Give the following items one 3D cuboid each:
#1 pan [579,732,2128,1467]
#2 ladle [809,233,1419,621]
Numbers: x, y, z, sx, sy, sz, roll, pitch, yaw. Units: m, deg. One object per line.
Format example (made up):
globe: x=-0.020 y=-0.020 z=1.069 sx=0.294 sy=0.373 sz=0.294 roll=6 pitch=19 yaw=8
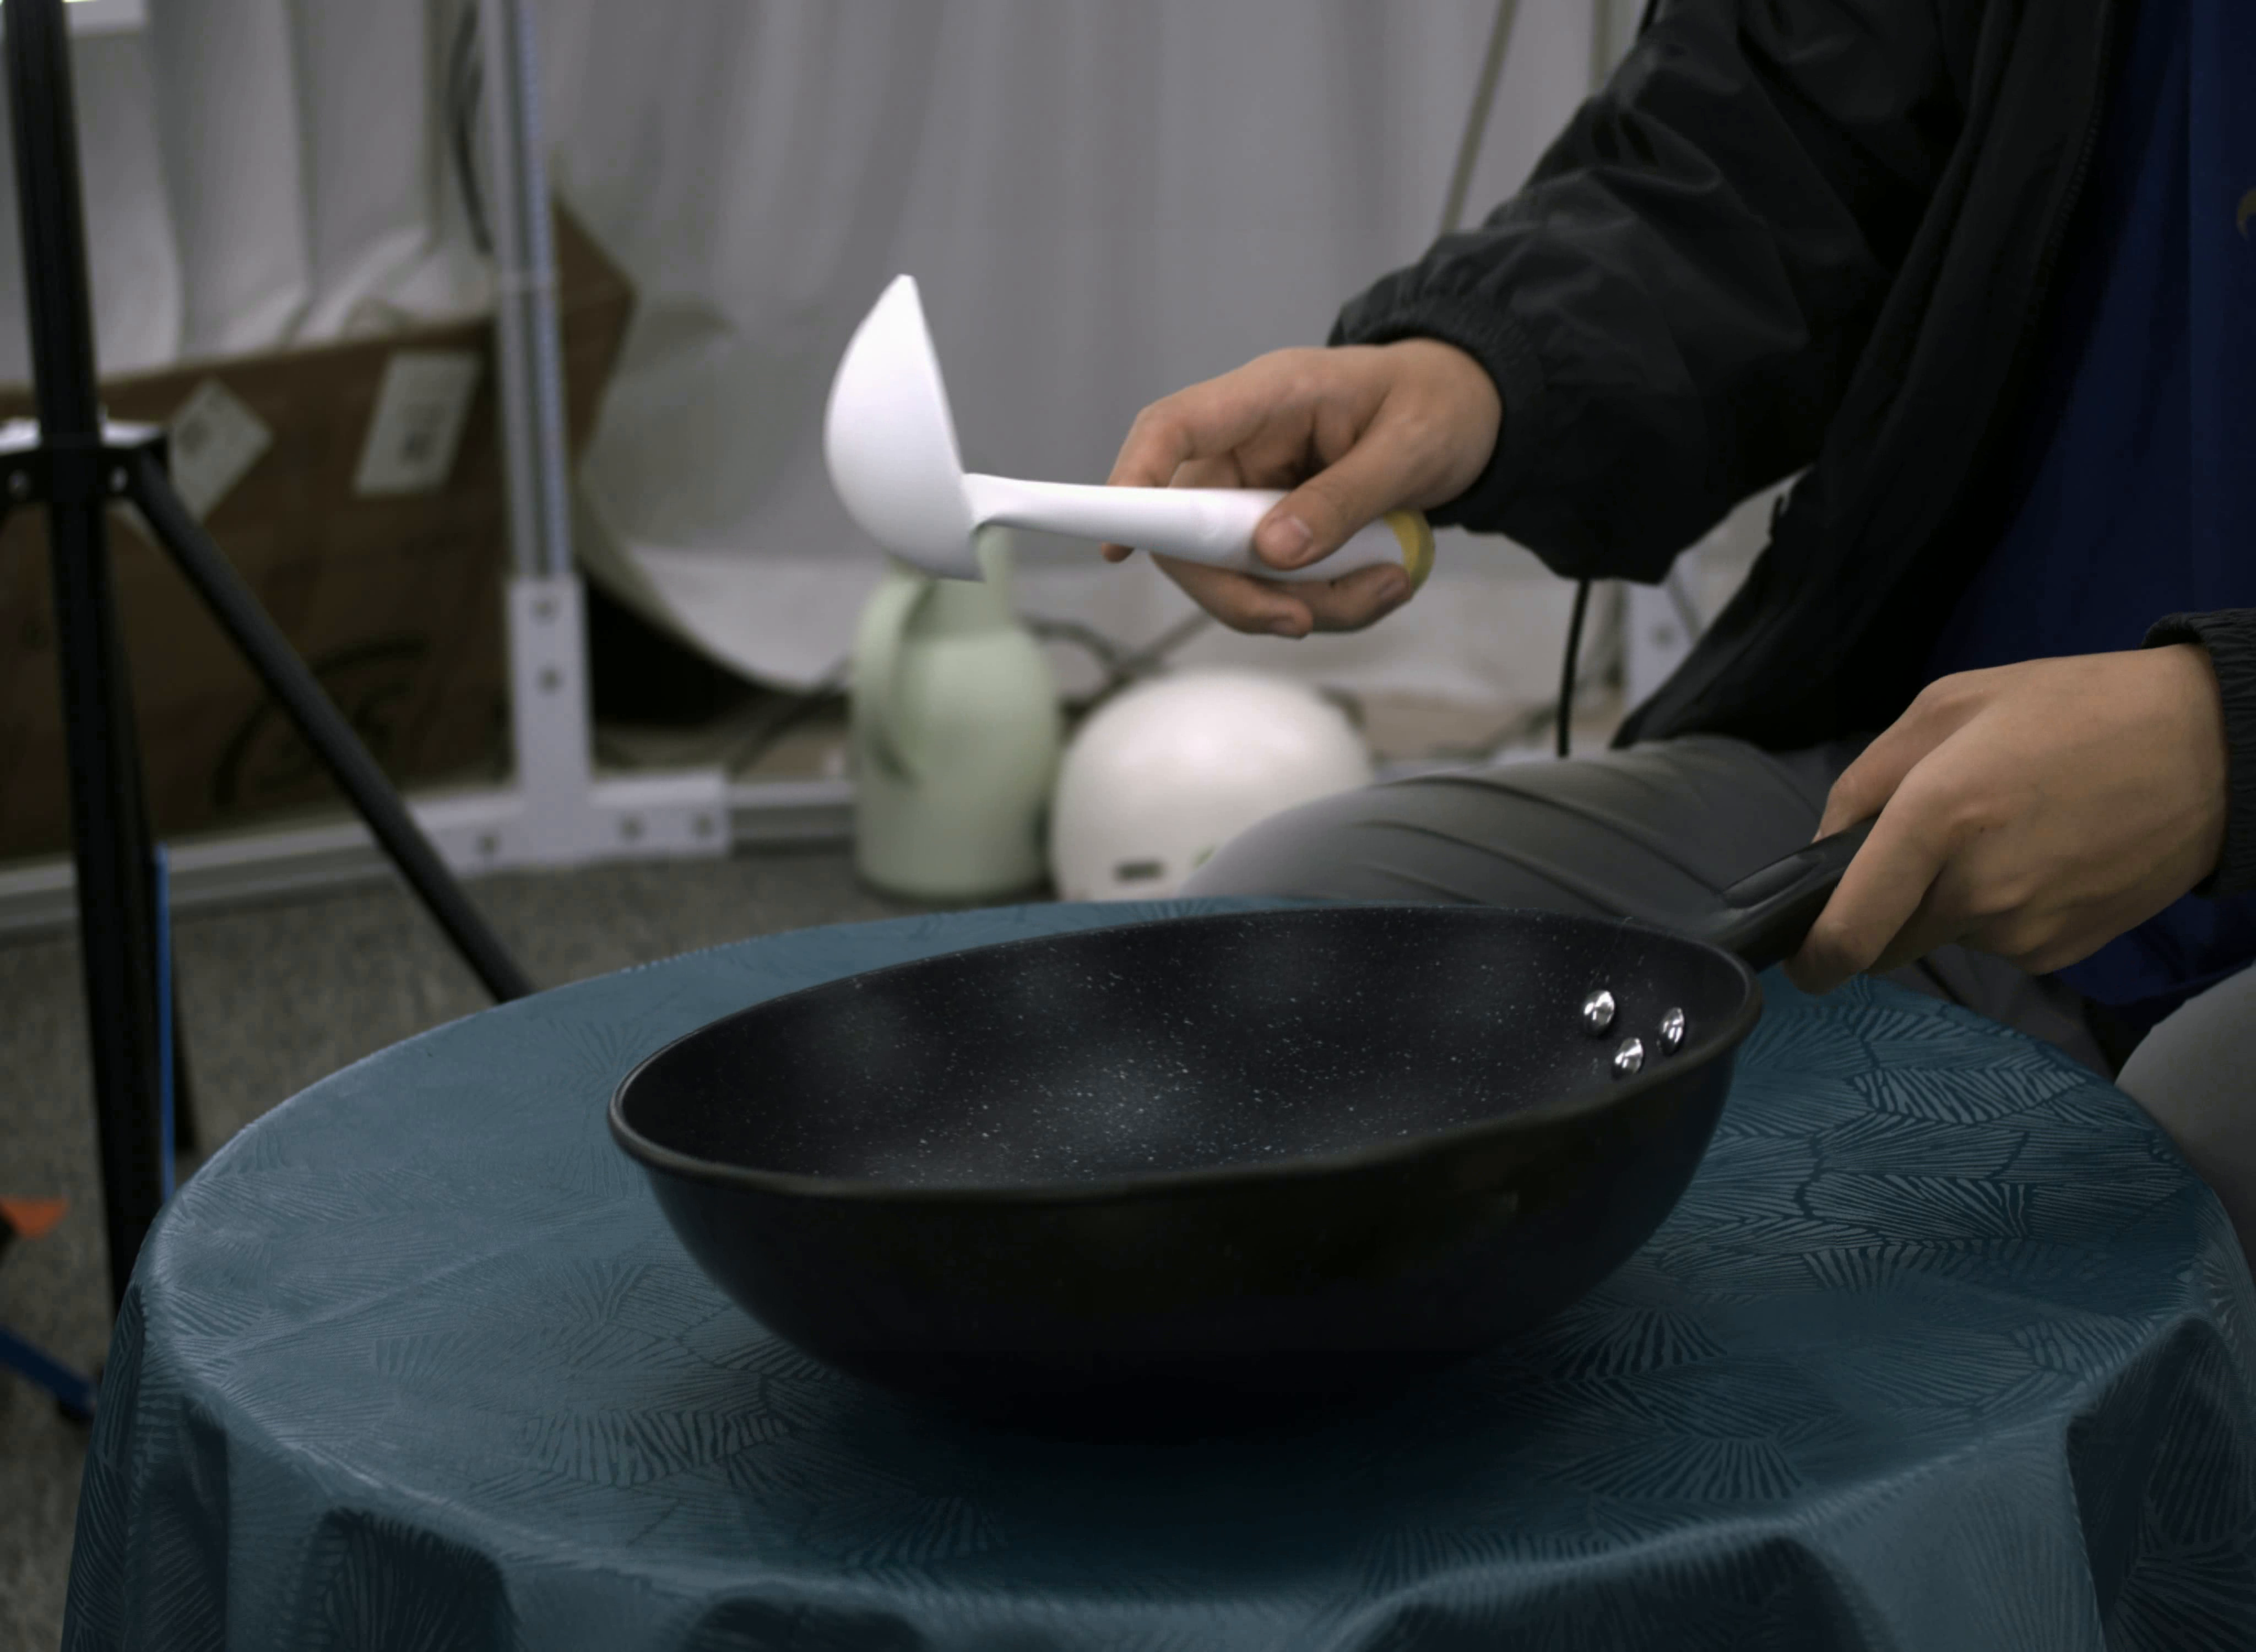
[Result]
pan: x=0.084 y=0.074 z=1.441 sx=0.467 sy=0.111 sz=0.316 roll=-13 pitch=14 yaw=-25
ladle: x=0.007 y=-0.107 z=1.589 sx=0.071 sy=0.091 sz=0.285 roll=-36 pitch=-28 yaw=30
